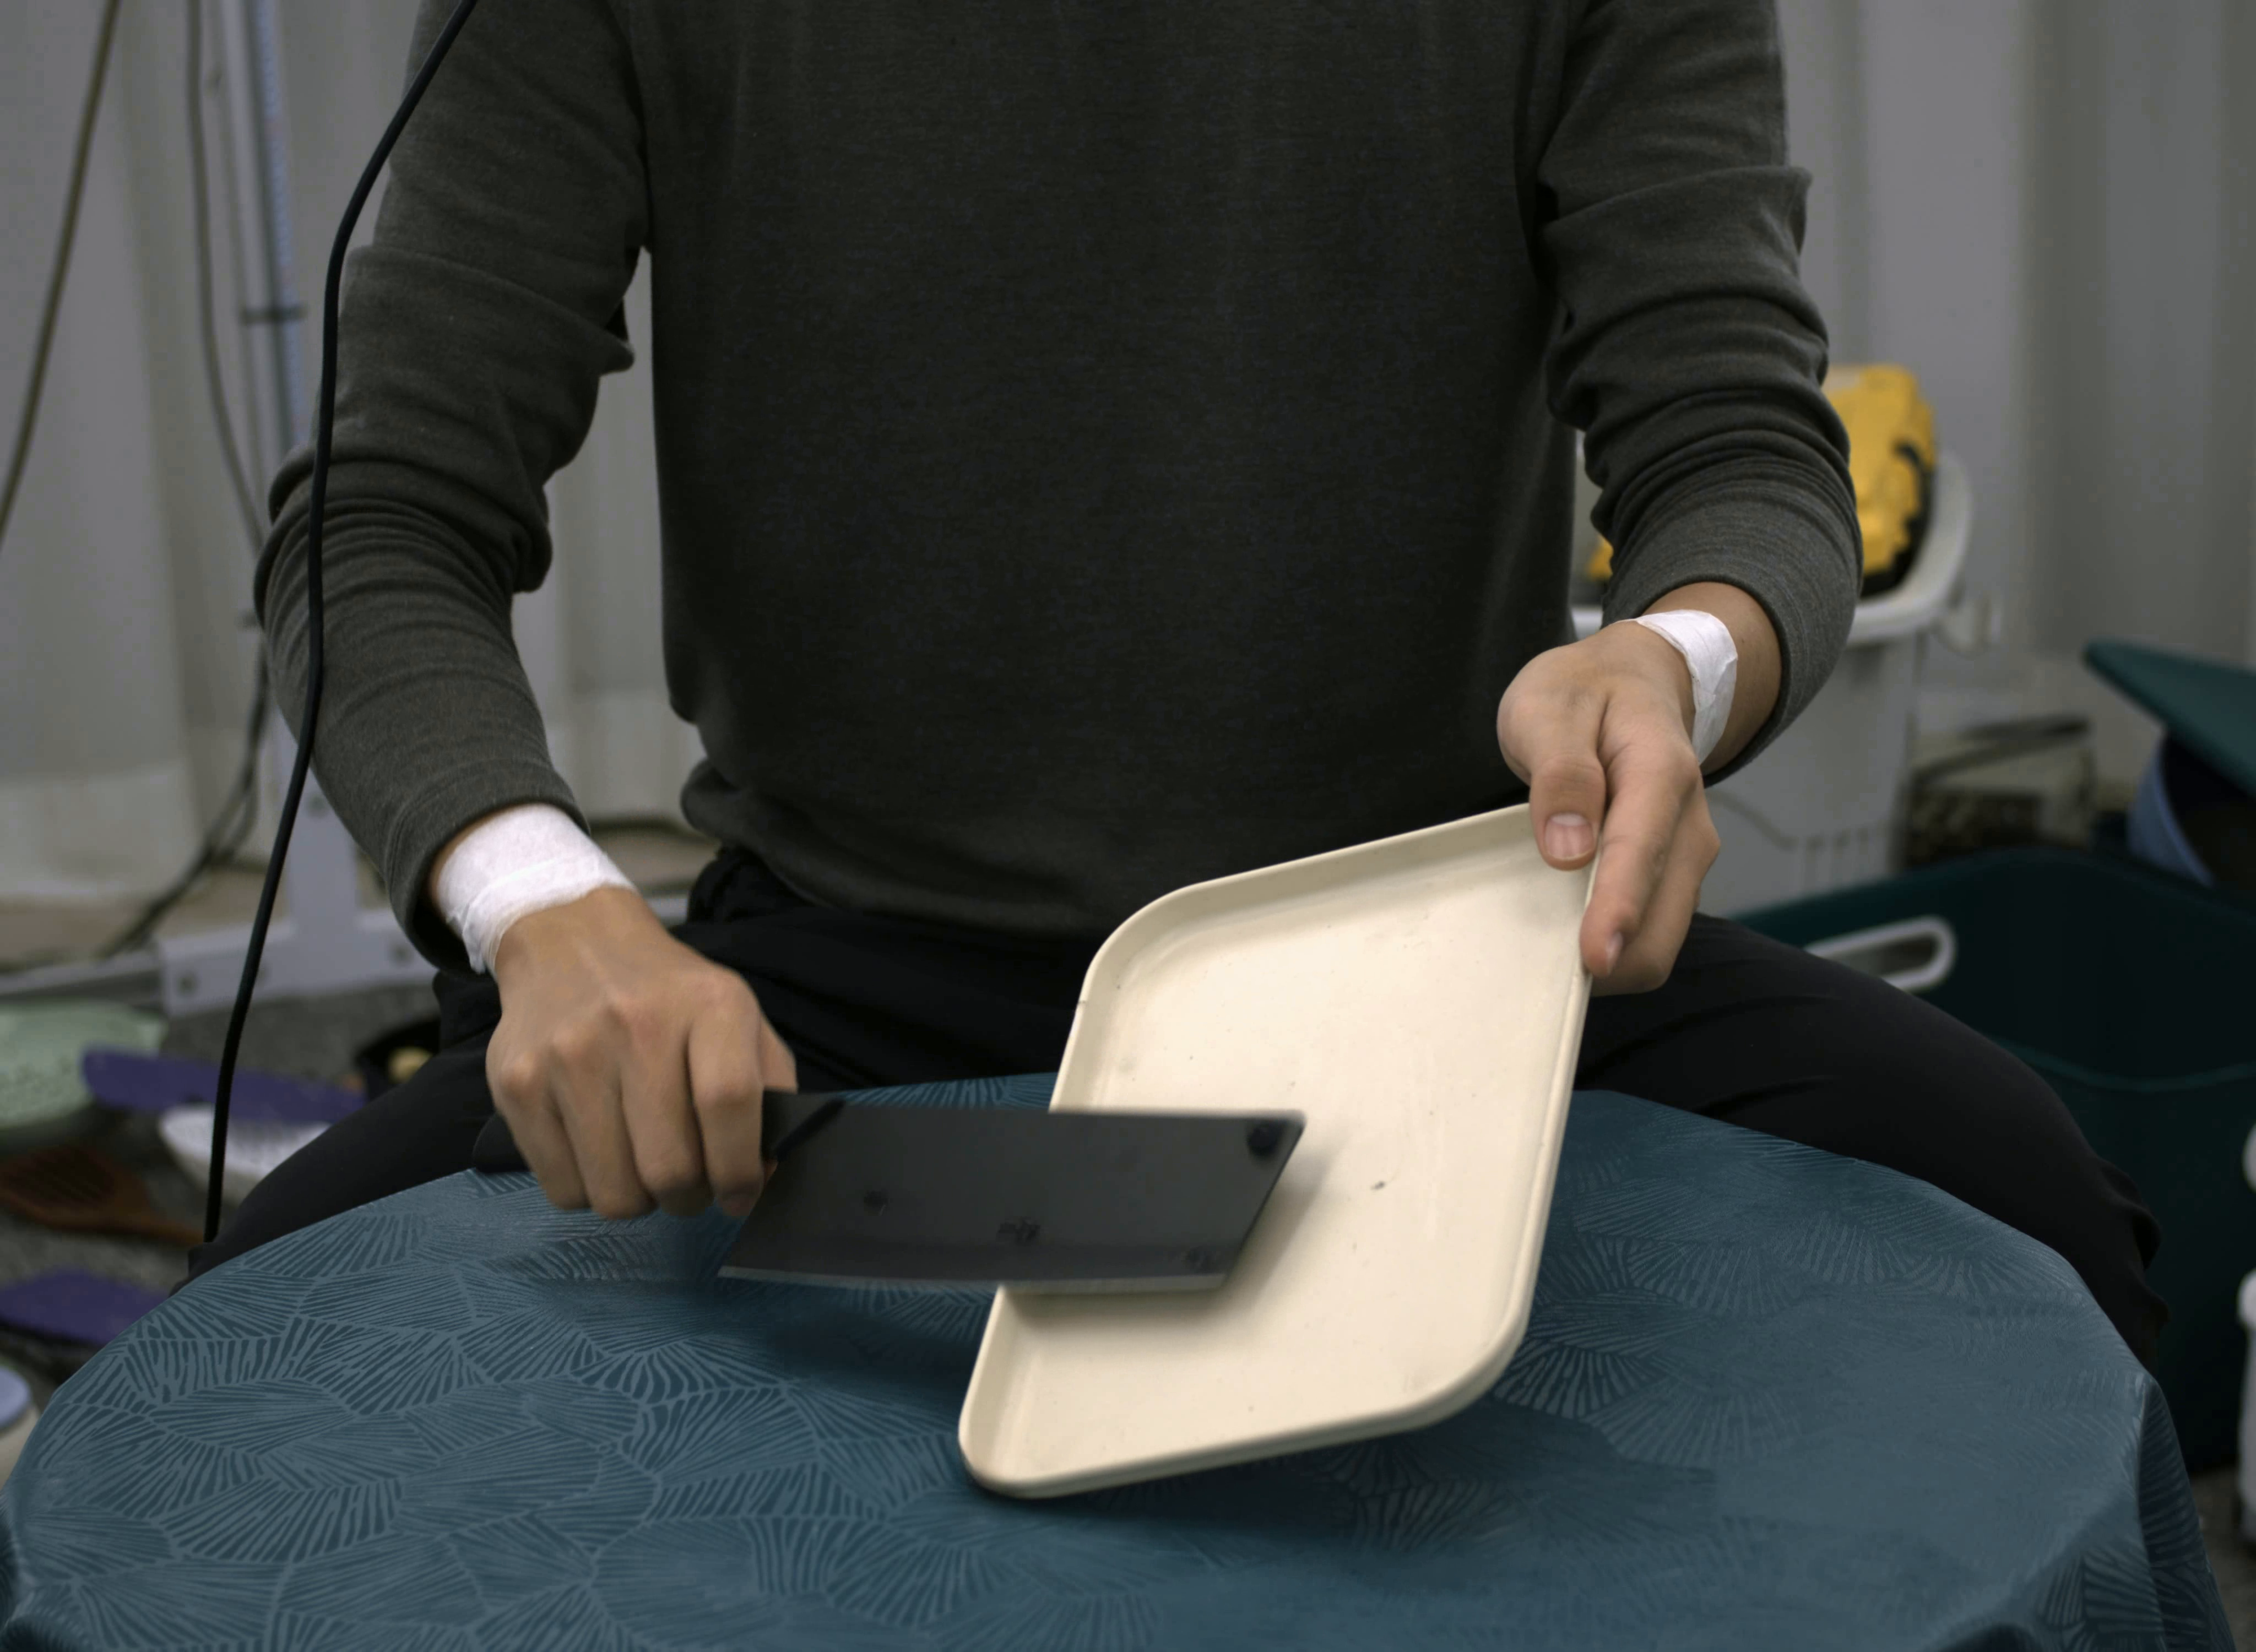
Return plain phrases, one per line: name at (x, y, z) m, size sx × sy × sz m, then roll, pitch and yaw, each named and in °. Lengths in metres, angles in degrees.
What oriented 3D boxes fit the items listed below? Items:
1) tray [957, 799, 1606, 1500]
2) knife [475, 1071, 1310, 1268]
tray at (0.047, 0.090, 1.524) m, size 0.171 × 0.017 × 0.243 m, roll -14°, pitch 36°, yaw 25°
knife at (-0.078, 0.099, 1.595) m, size 0.303 × 0.020 × 0.081 m, roll 2°, pitch 47°, yaw 40°
